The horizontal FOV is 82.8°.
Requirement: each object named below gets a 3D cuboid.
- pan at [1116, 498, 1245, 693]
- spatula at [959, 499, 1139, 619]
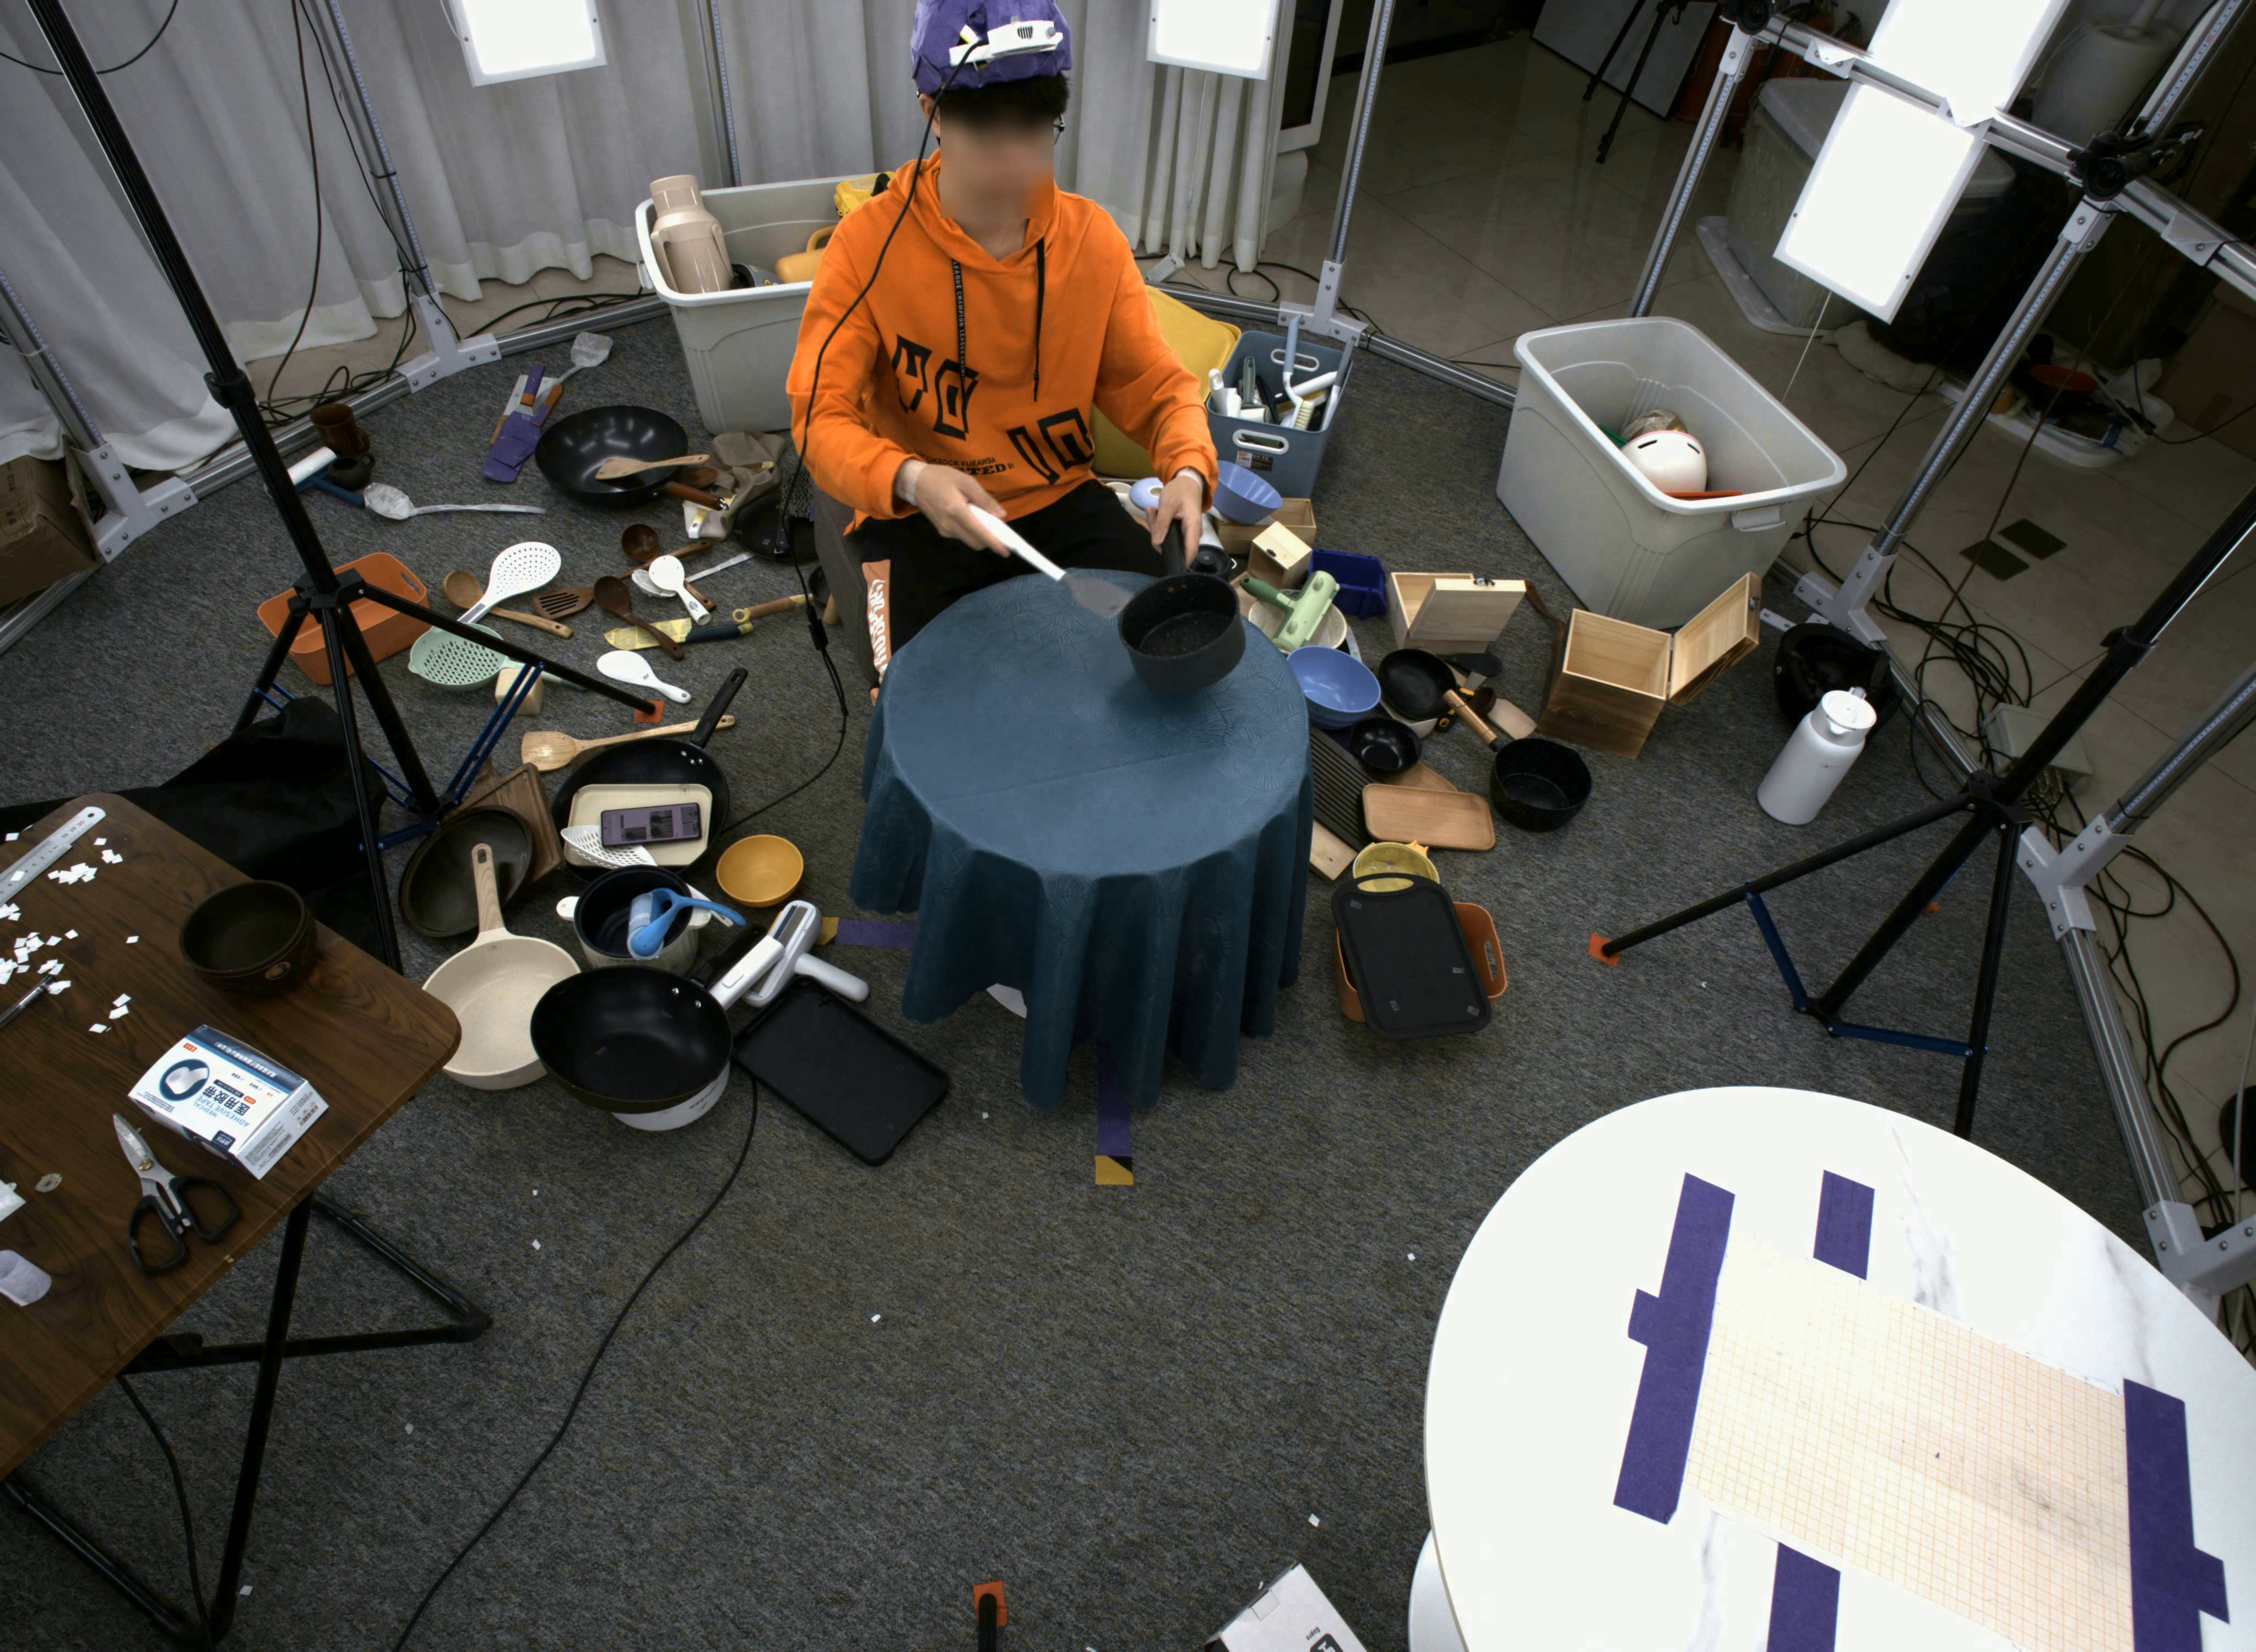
[{"bbox_3d":[0.075,-0.331,1.835,0.172,0.084,0.337,-9,50,11],"label":"pan"},{"bbox_3d":[-0.109,-0.360,1.732,0.291,0.031,0.059,35,63,19],"label":"spatula"}]
